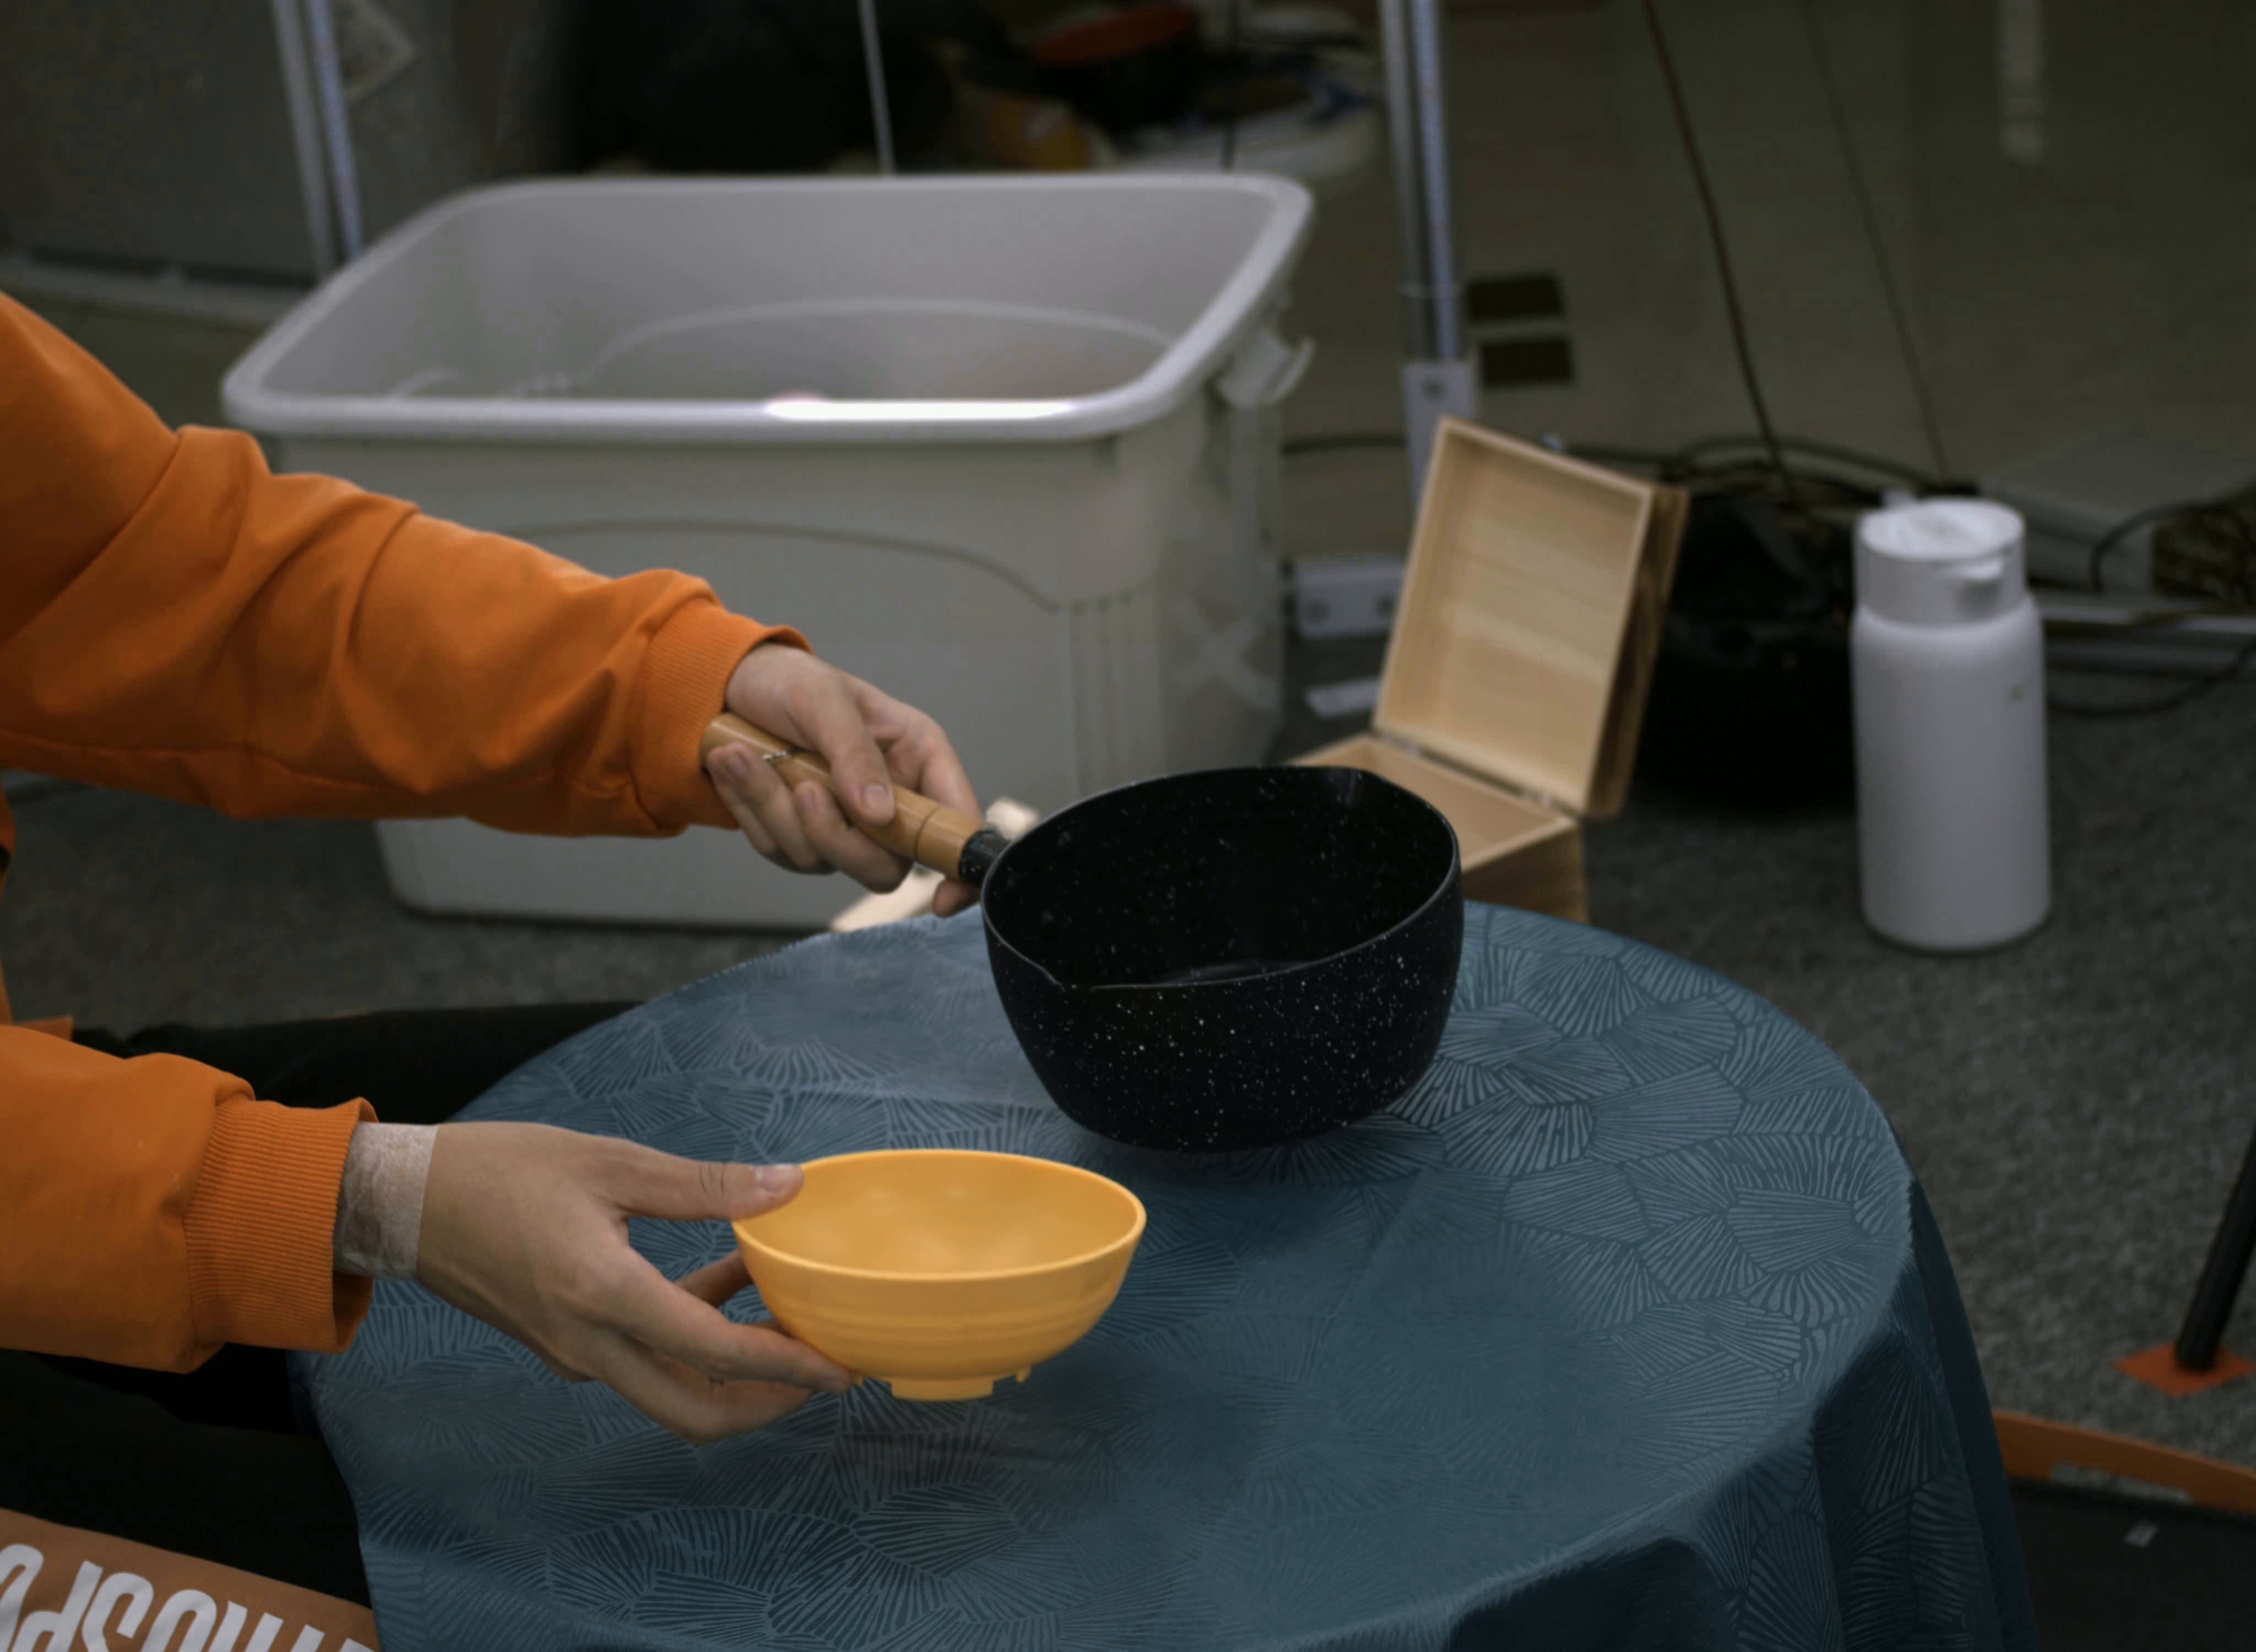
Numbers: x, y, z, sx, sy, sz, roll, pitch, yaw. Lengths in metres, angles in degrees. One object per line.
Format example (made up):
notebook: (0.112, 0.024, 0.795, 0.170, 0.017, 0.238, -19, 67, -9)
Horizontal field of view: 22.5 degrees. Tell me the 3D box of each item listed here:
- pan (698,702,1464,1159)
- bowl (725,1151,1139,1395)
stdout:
pan: (-0.027, 0.030, 2.208, 0.341, 0.110, 0.205, 12, 34, 32)
bowl: (-0.069, 0.160, 1.979, 0.145, 0.061, 0.144, 1, 13, 0)
